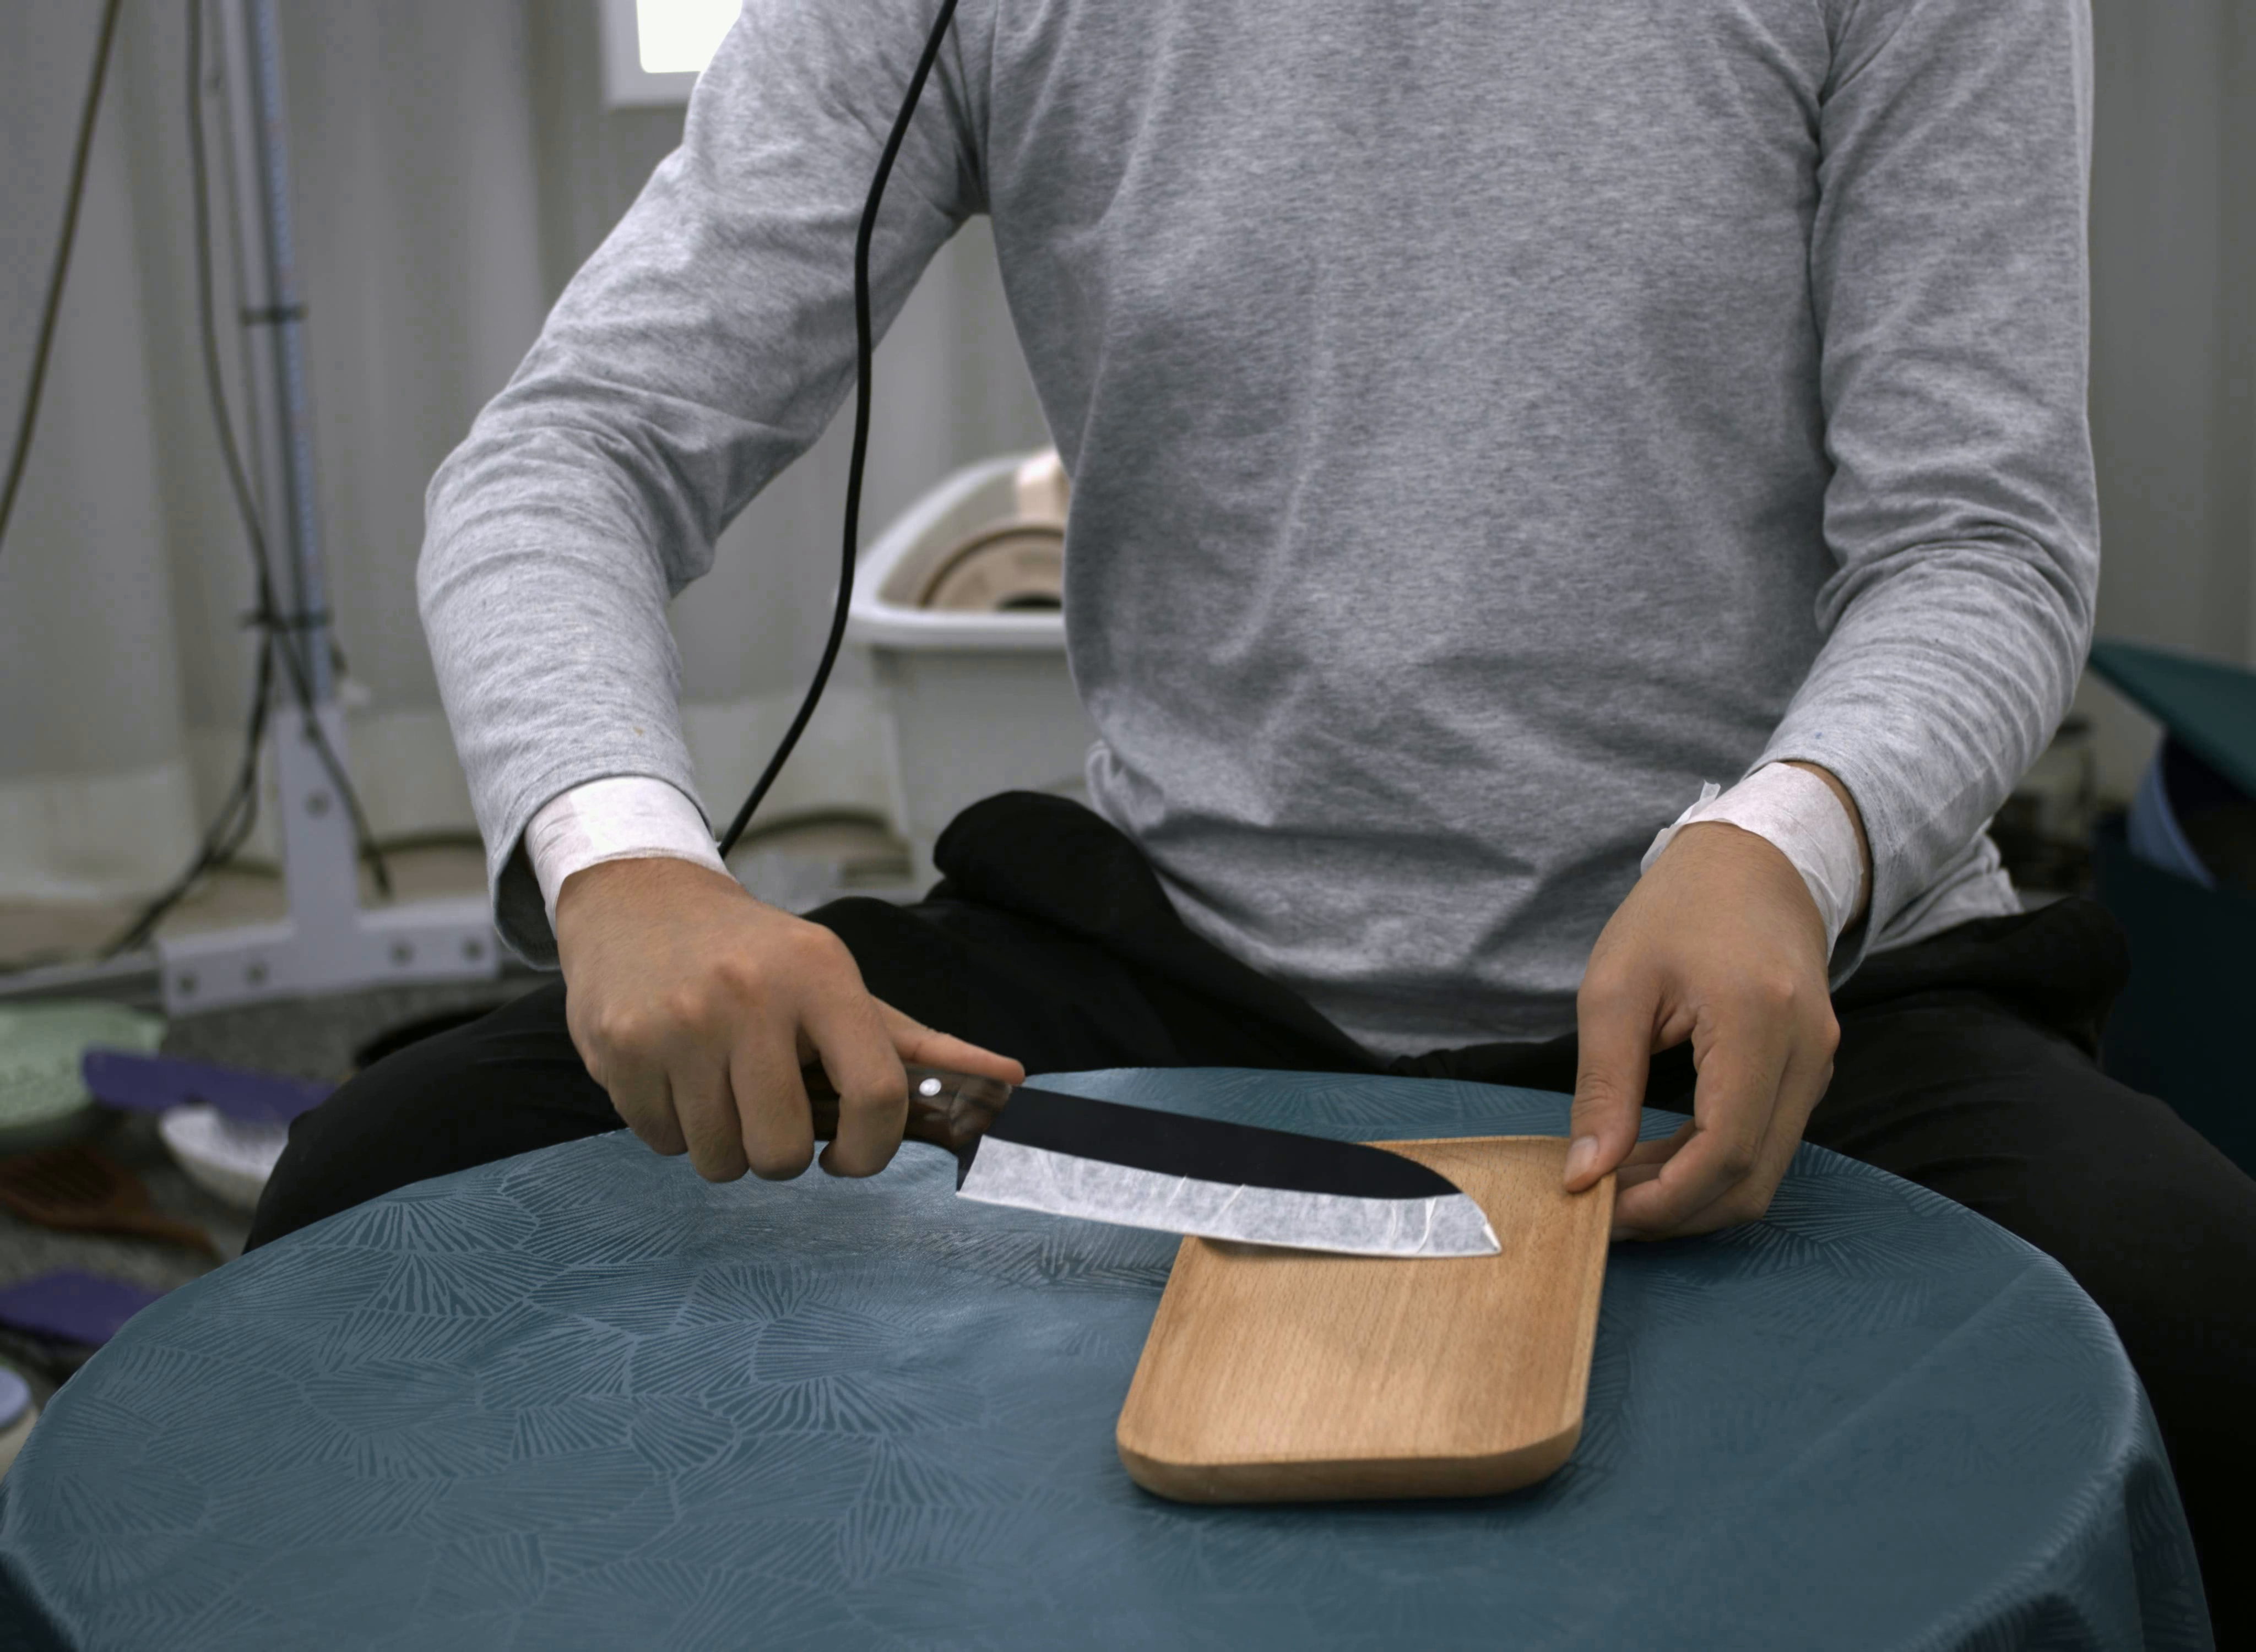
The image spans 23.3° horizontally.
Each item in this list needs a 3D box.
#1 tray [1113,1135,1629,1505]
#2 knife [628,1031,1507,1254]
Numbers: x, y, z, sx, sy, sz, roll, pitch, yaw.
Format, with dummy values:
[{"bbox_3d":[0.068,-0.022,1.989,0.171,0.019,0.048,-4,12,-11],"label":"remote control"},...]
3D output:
[{"bbox_3d":[0.074,0.139,1.565,0.130,0.023,0.252,-1,16,10],"label":"tray"},{"bbox_3d":[-0.022,0.096,1.653,0.289,0.020,0.051,10,52,20],"label":"knife"}]
